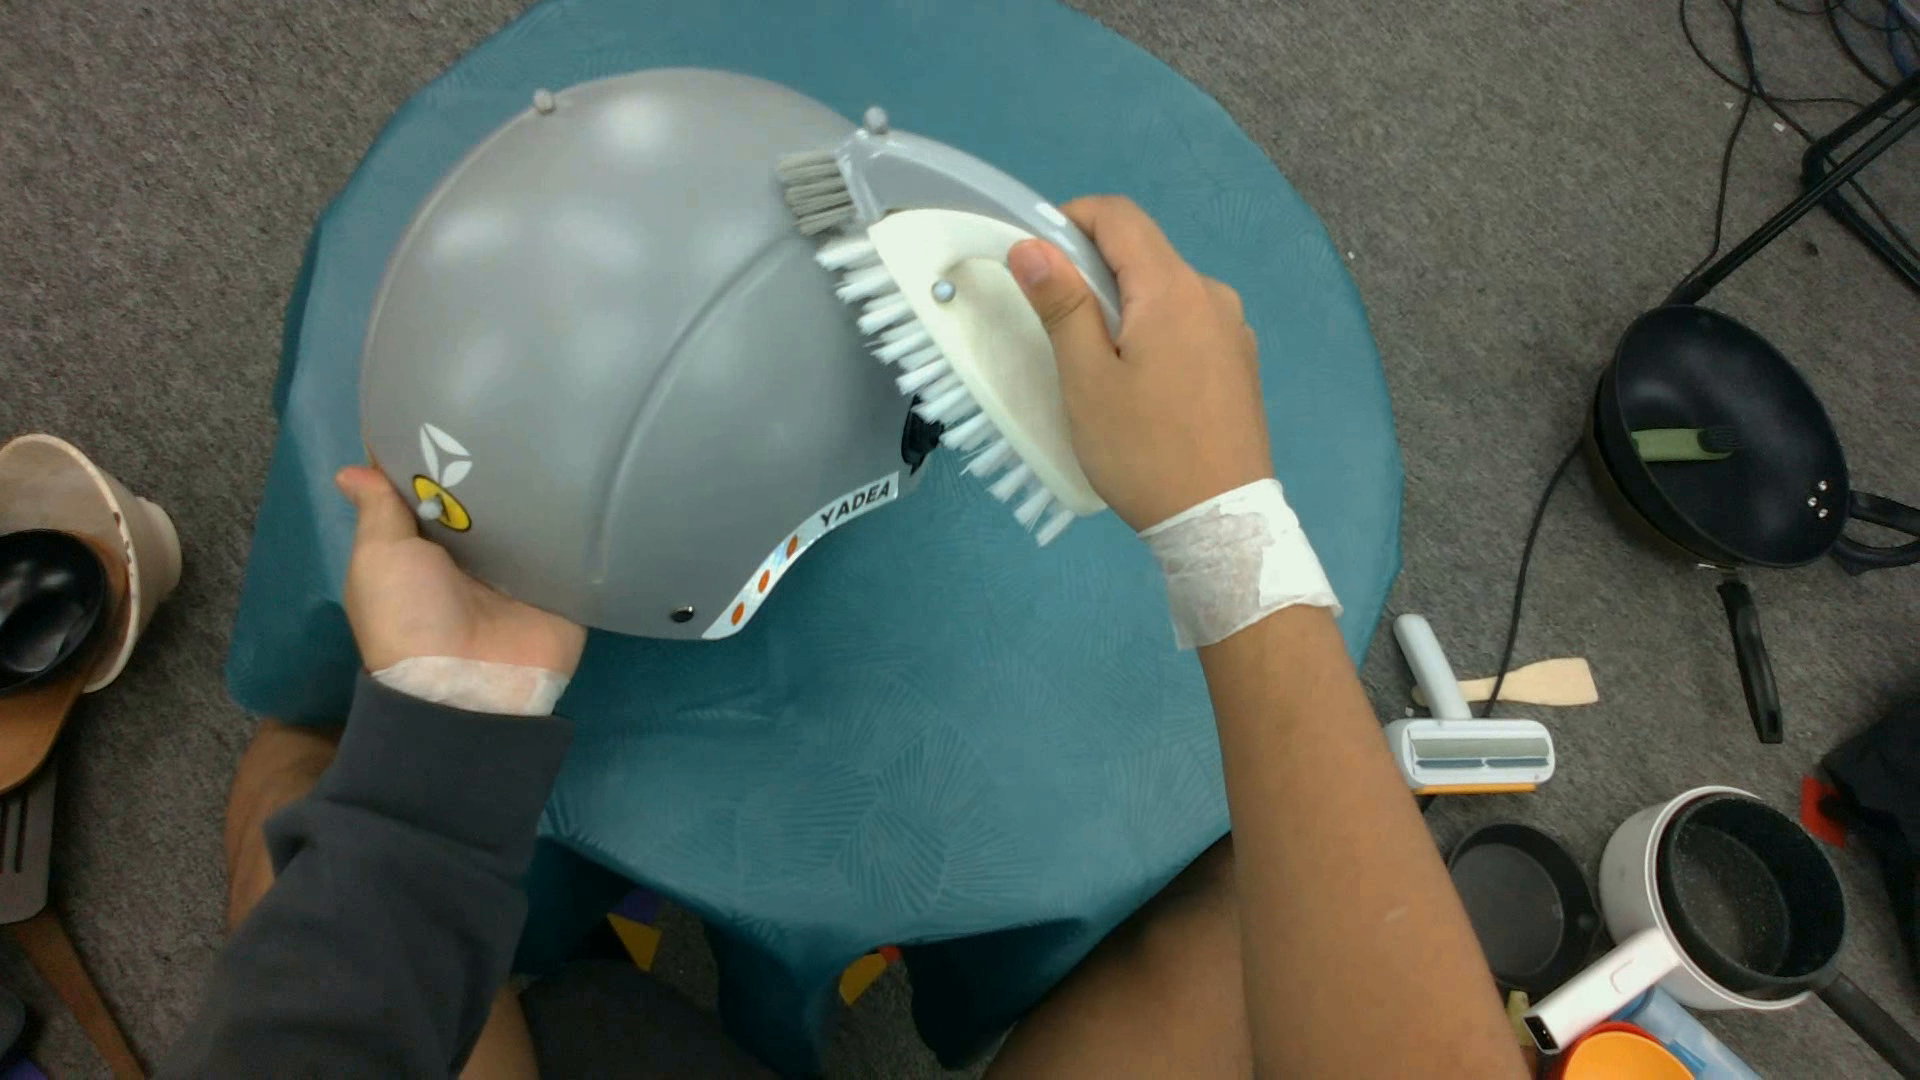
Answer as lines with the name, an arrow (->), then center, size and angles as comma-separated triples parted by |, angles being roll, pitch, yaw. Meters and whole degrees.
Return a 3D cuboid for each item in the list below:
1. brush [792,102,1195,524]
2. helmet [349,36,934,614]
brush -> 0.018, -0.096, 0.509 | 0.175, 0.094, 0.062 | 50, 42, -11
helmet -> -0.122, -0.115, 0.569 | 0.232, 0.168, 0.277 | 31, 60, 12
